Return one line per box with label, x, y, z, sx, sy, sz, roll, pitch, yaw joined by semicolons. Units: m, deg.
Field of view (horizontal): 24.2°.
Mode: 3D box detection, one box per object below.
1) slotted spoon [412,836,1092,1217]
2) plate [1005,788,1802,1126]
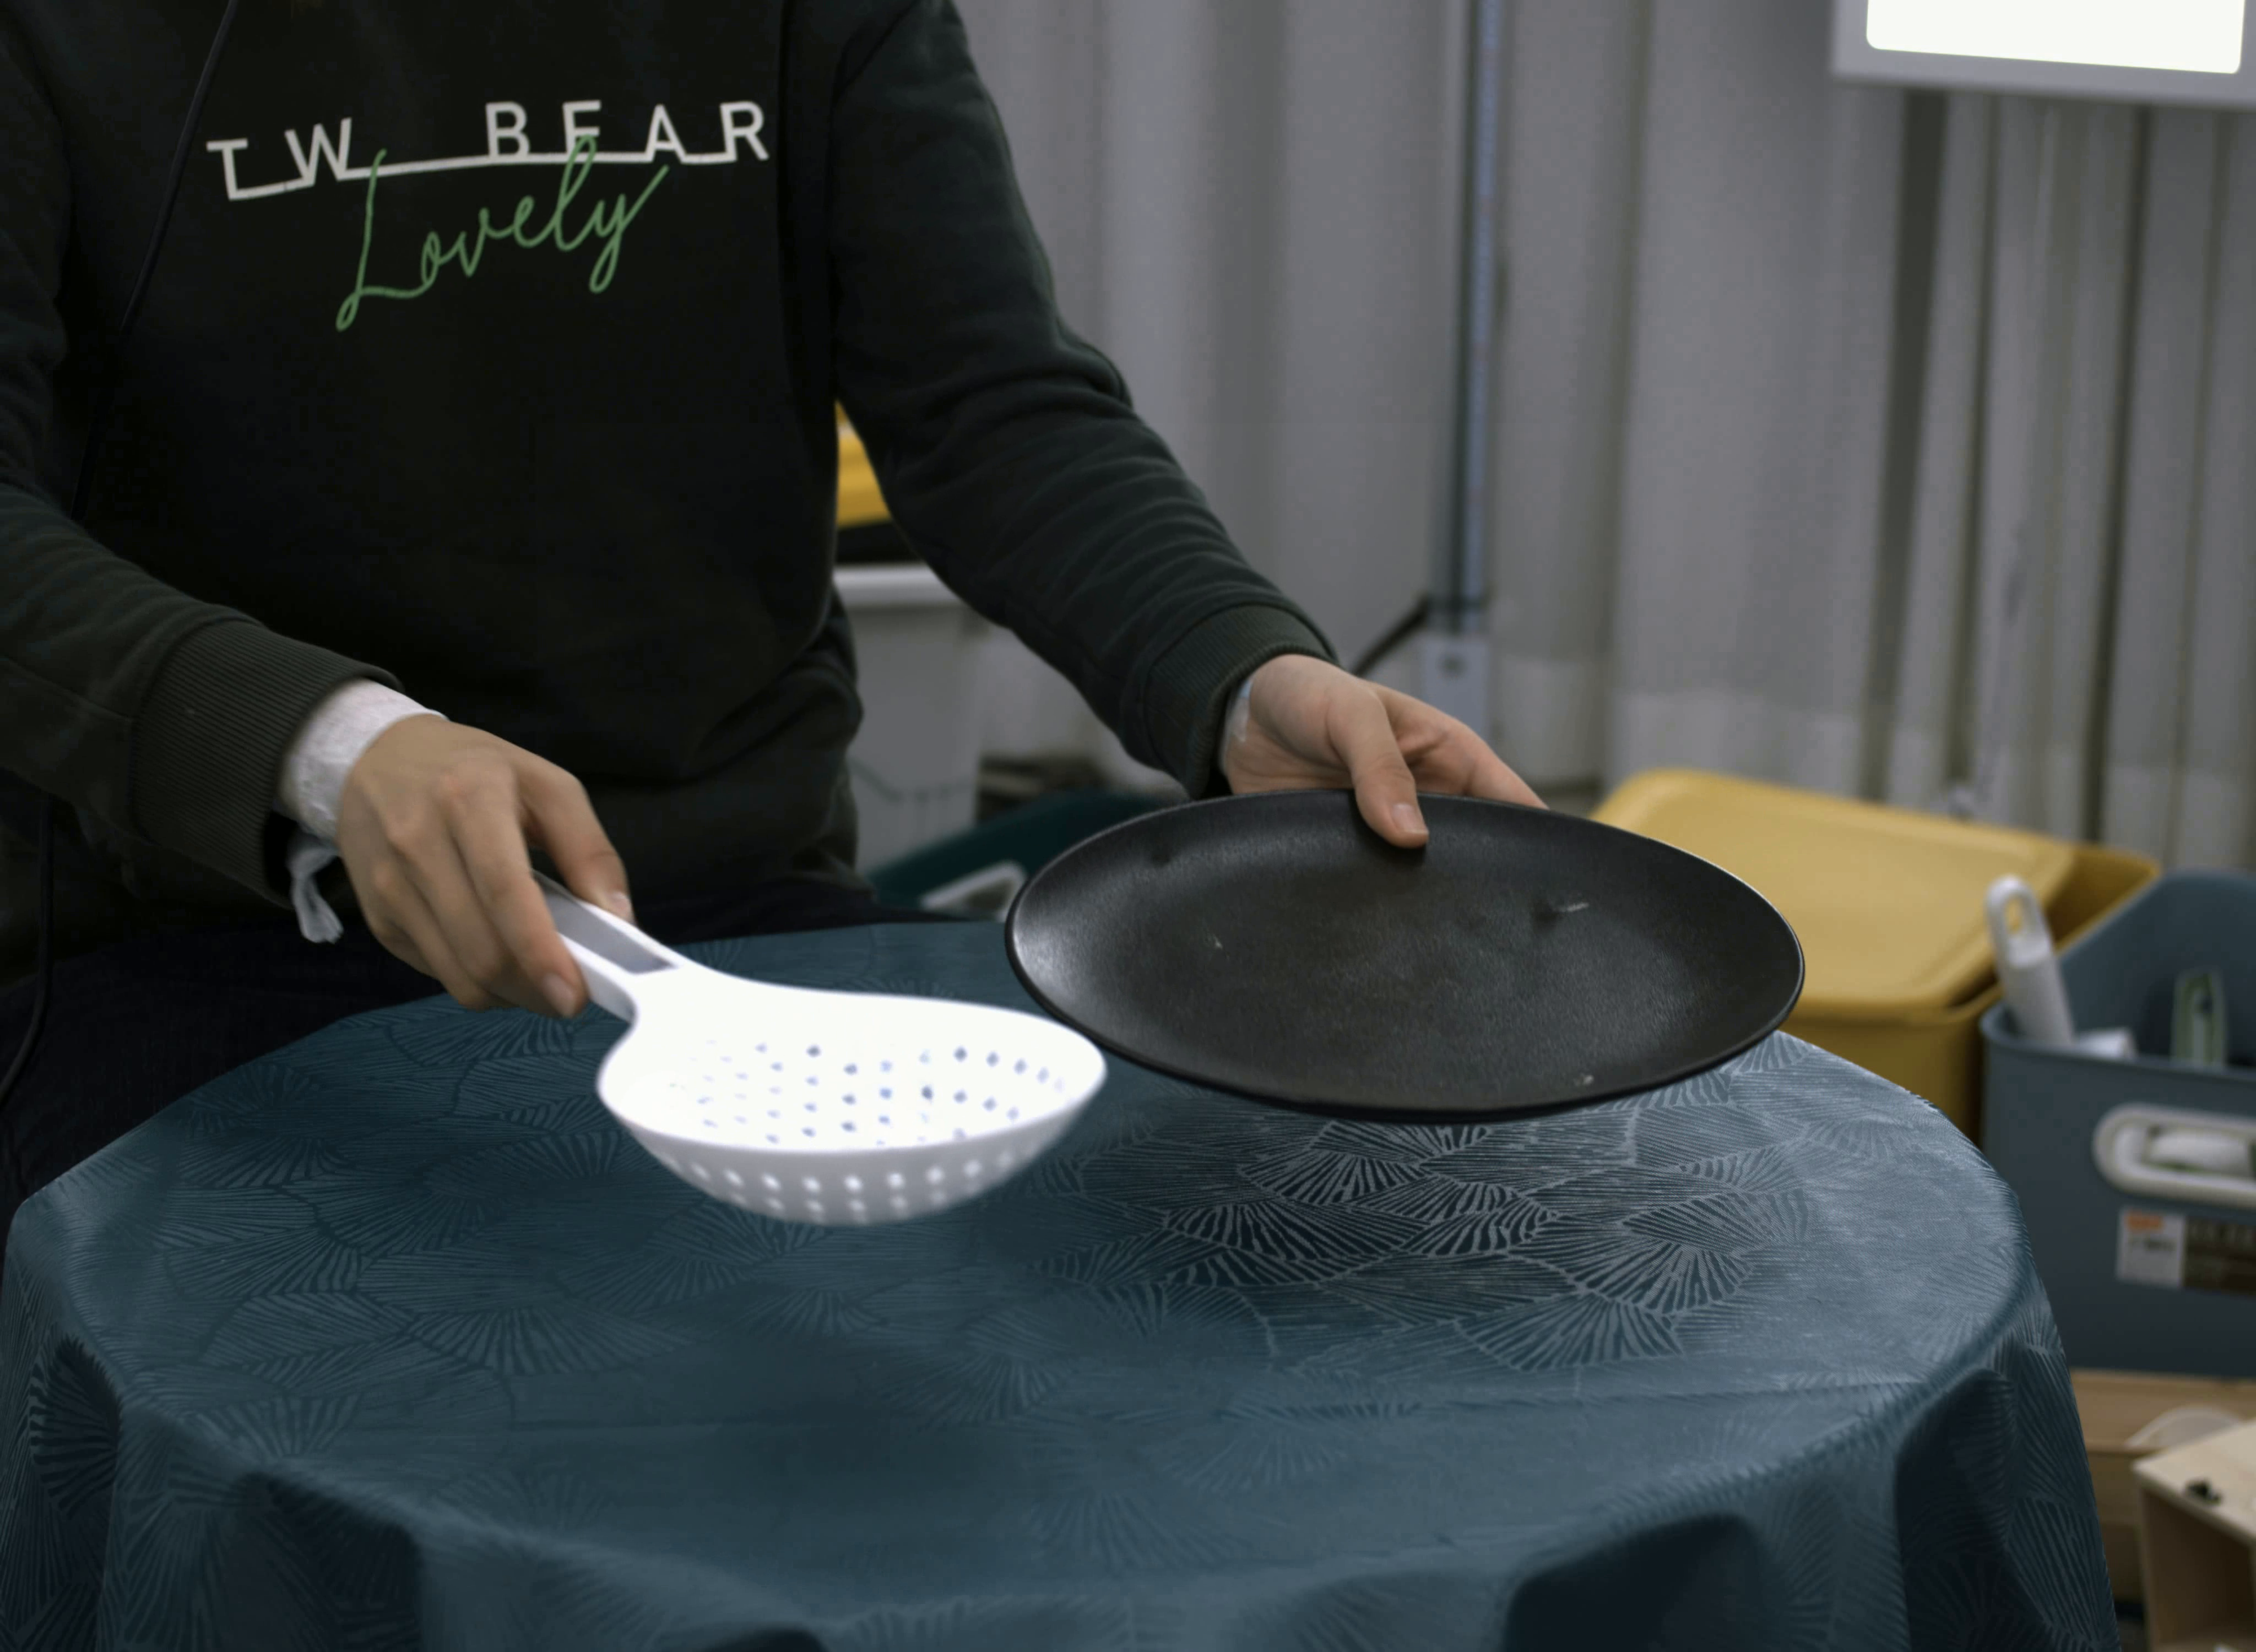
slotted spoon;-0.130;0.048;1.502;0.136;0.046;0.345;-8;21;-28
plate;0.084;0.042;1.608;0.243;0.023;0.242;3;22;-1
